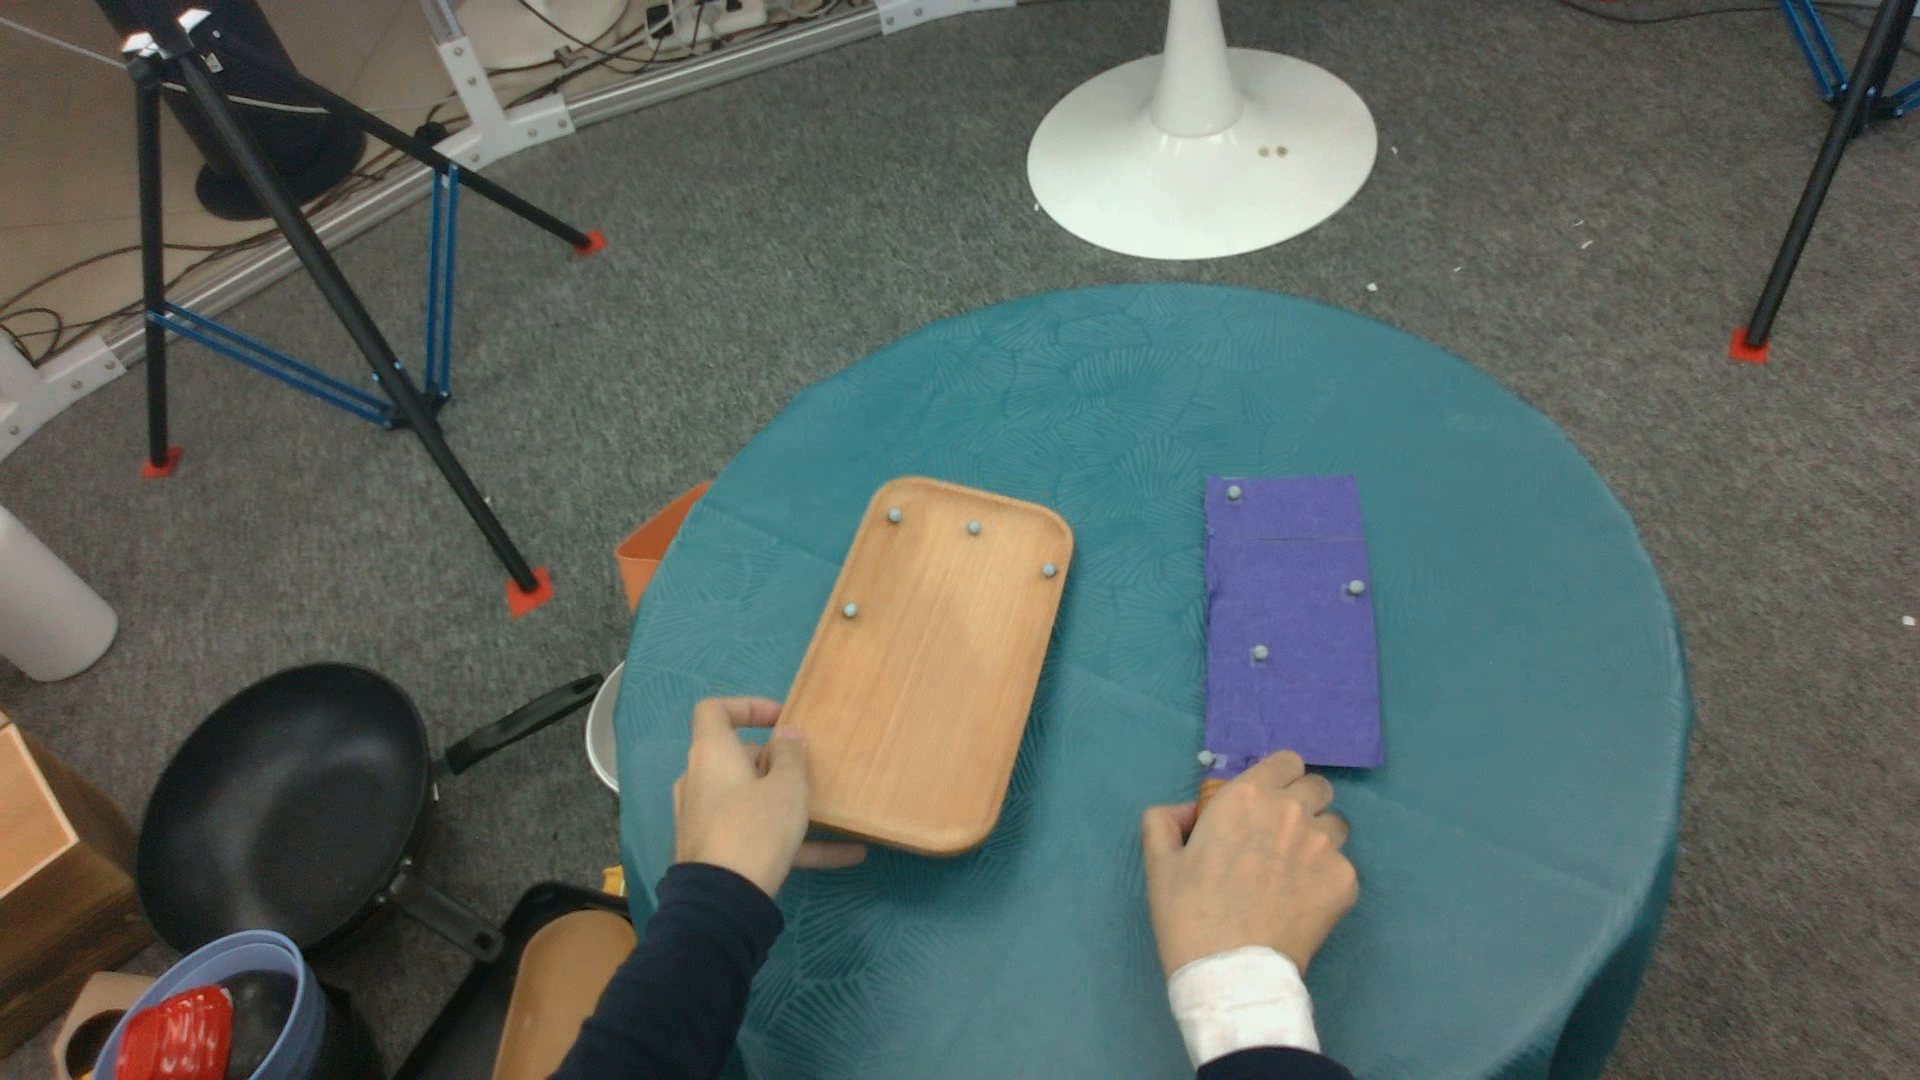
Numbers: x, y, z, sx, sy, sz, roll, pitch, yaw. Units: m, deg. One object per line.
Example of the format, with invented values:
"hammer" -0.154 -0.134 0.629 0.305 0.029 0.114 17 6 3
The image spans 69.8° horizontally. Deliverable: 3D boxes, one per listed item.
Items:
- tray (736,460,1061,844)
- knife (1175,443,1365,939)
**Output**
"tray" -0.027 0.053 0.767 0.130 0.023 0.252 13 49 9
"knife" 0.169 0.062 0.747 0.104 0.032 0.317 -1 51 10
